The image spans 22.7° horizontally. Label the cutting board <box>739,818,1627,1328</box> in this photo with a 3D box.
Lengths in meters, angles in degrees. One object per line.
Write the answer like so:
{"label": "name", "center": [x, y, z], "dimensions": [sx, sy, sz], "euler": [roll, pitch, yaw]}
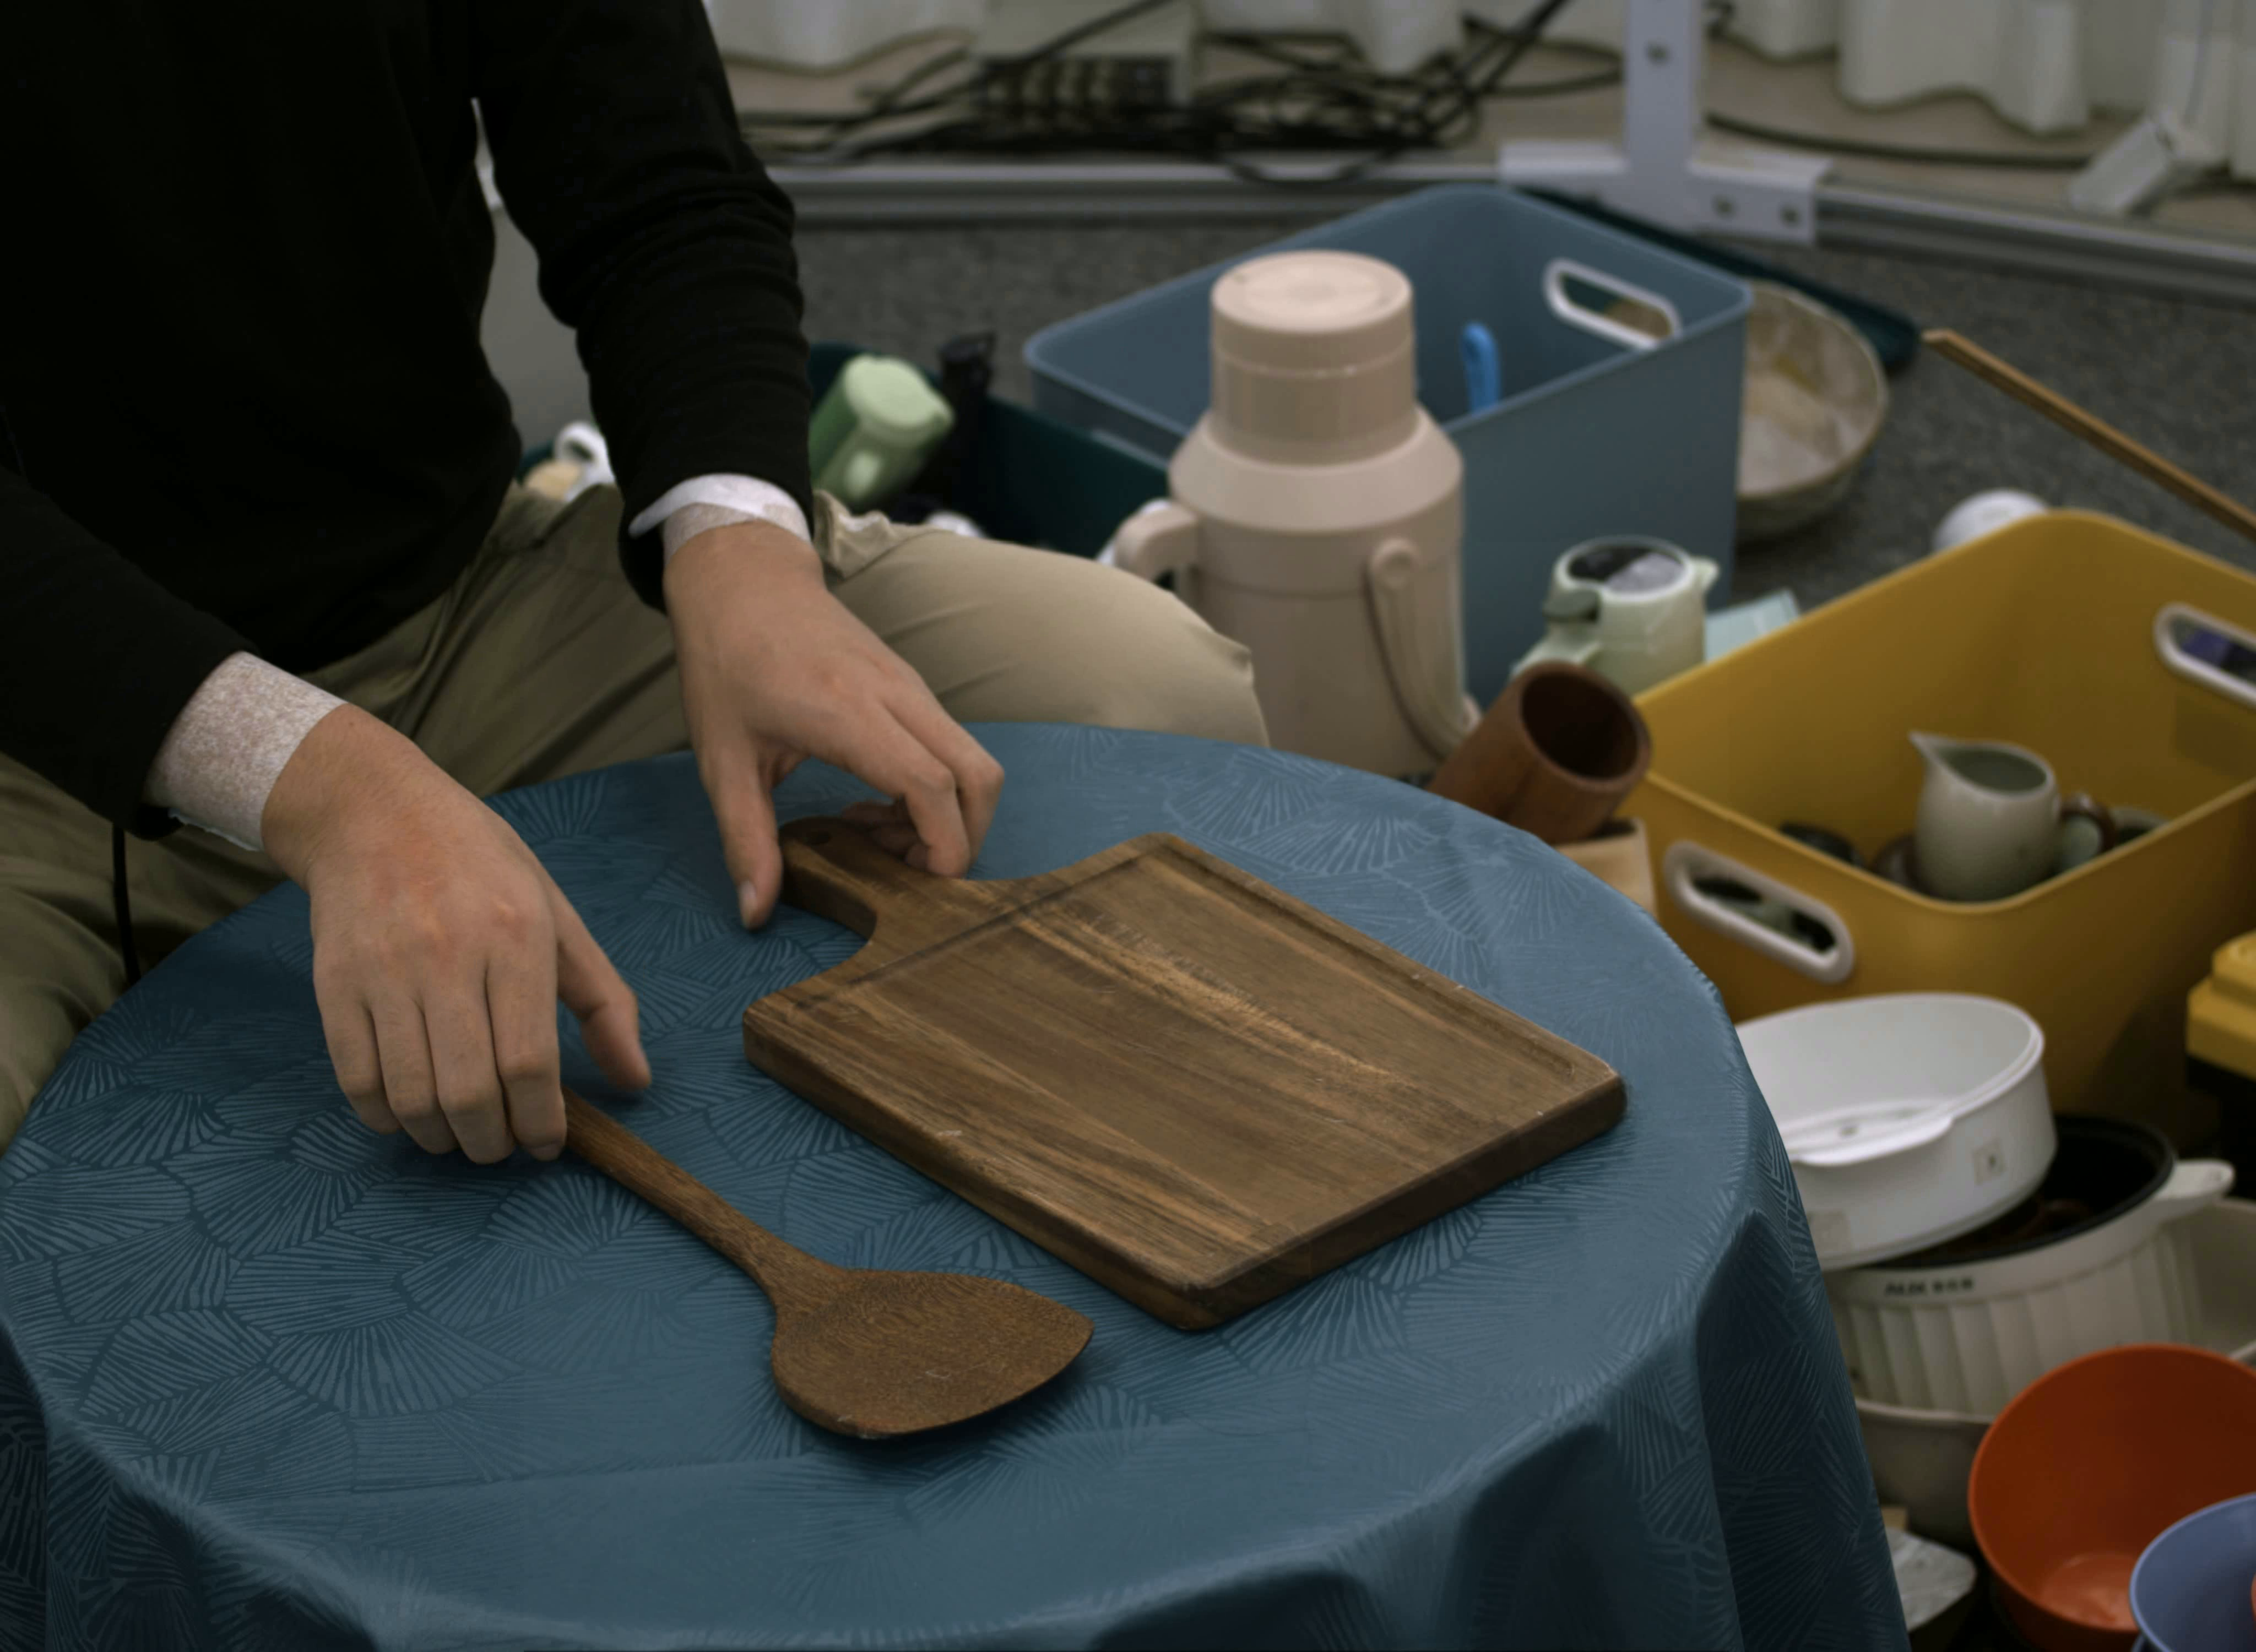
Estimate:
{"label": "cutting board", "center": [-0.015, 0.065, 1.950], "dimensions": [0.203, 0.023, 0.352], "euler": [-23, 33, -34]}

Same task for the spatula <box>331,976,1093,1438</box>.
{"label": "spatula", "center": [-0.158, 0.118, 1.868], "dimensions": [0.097, 0.015, 0.386], "euler": [-22, 33, -33]}
